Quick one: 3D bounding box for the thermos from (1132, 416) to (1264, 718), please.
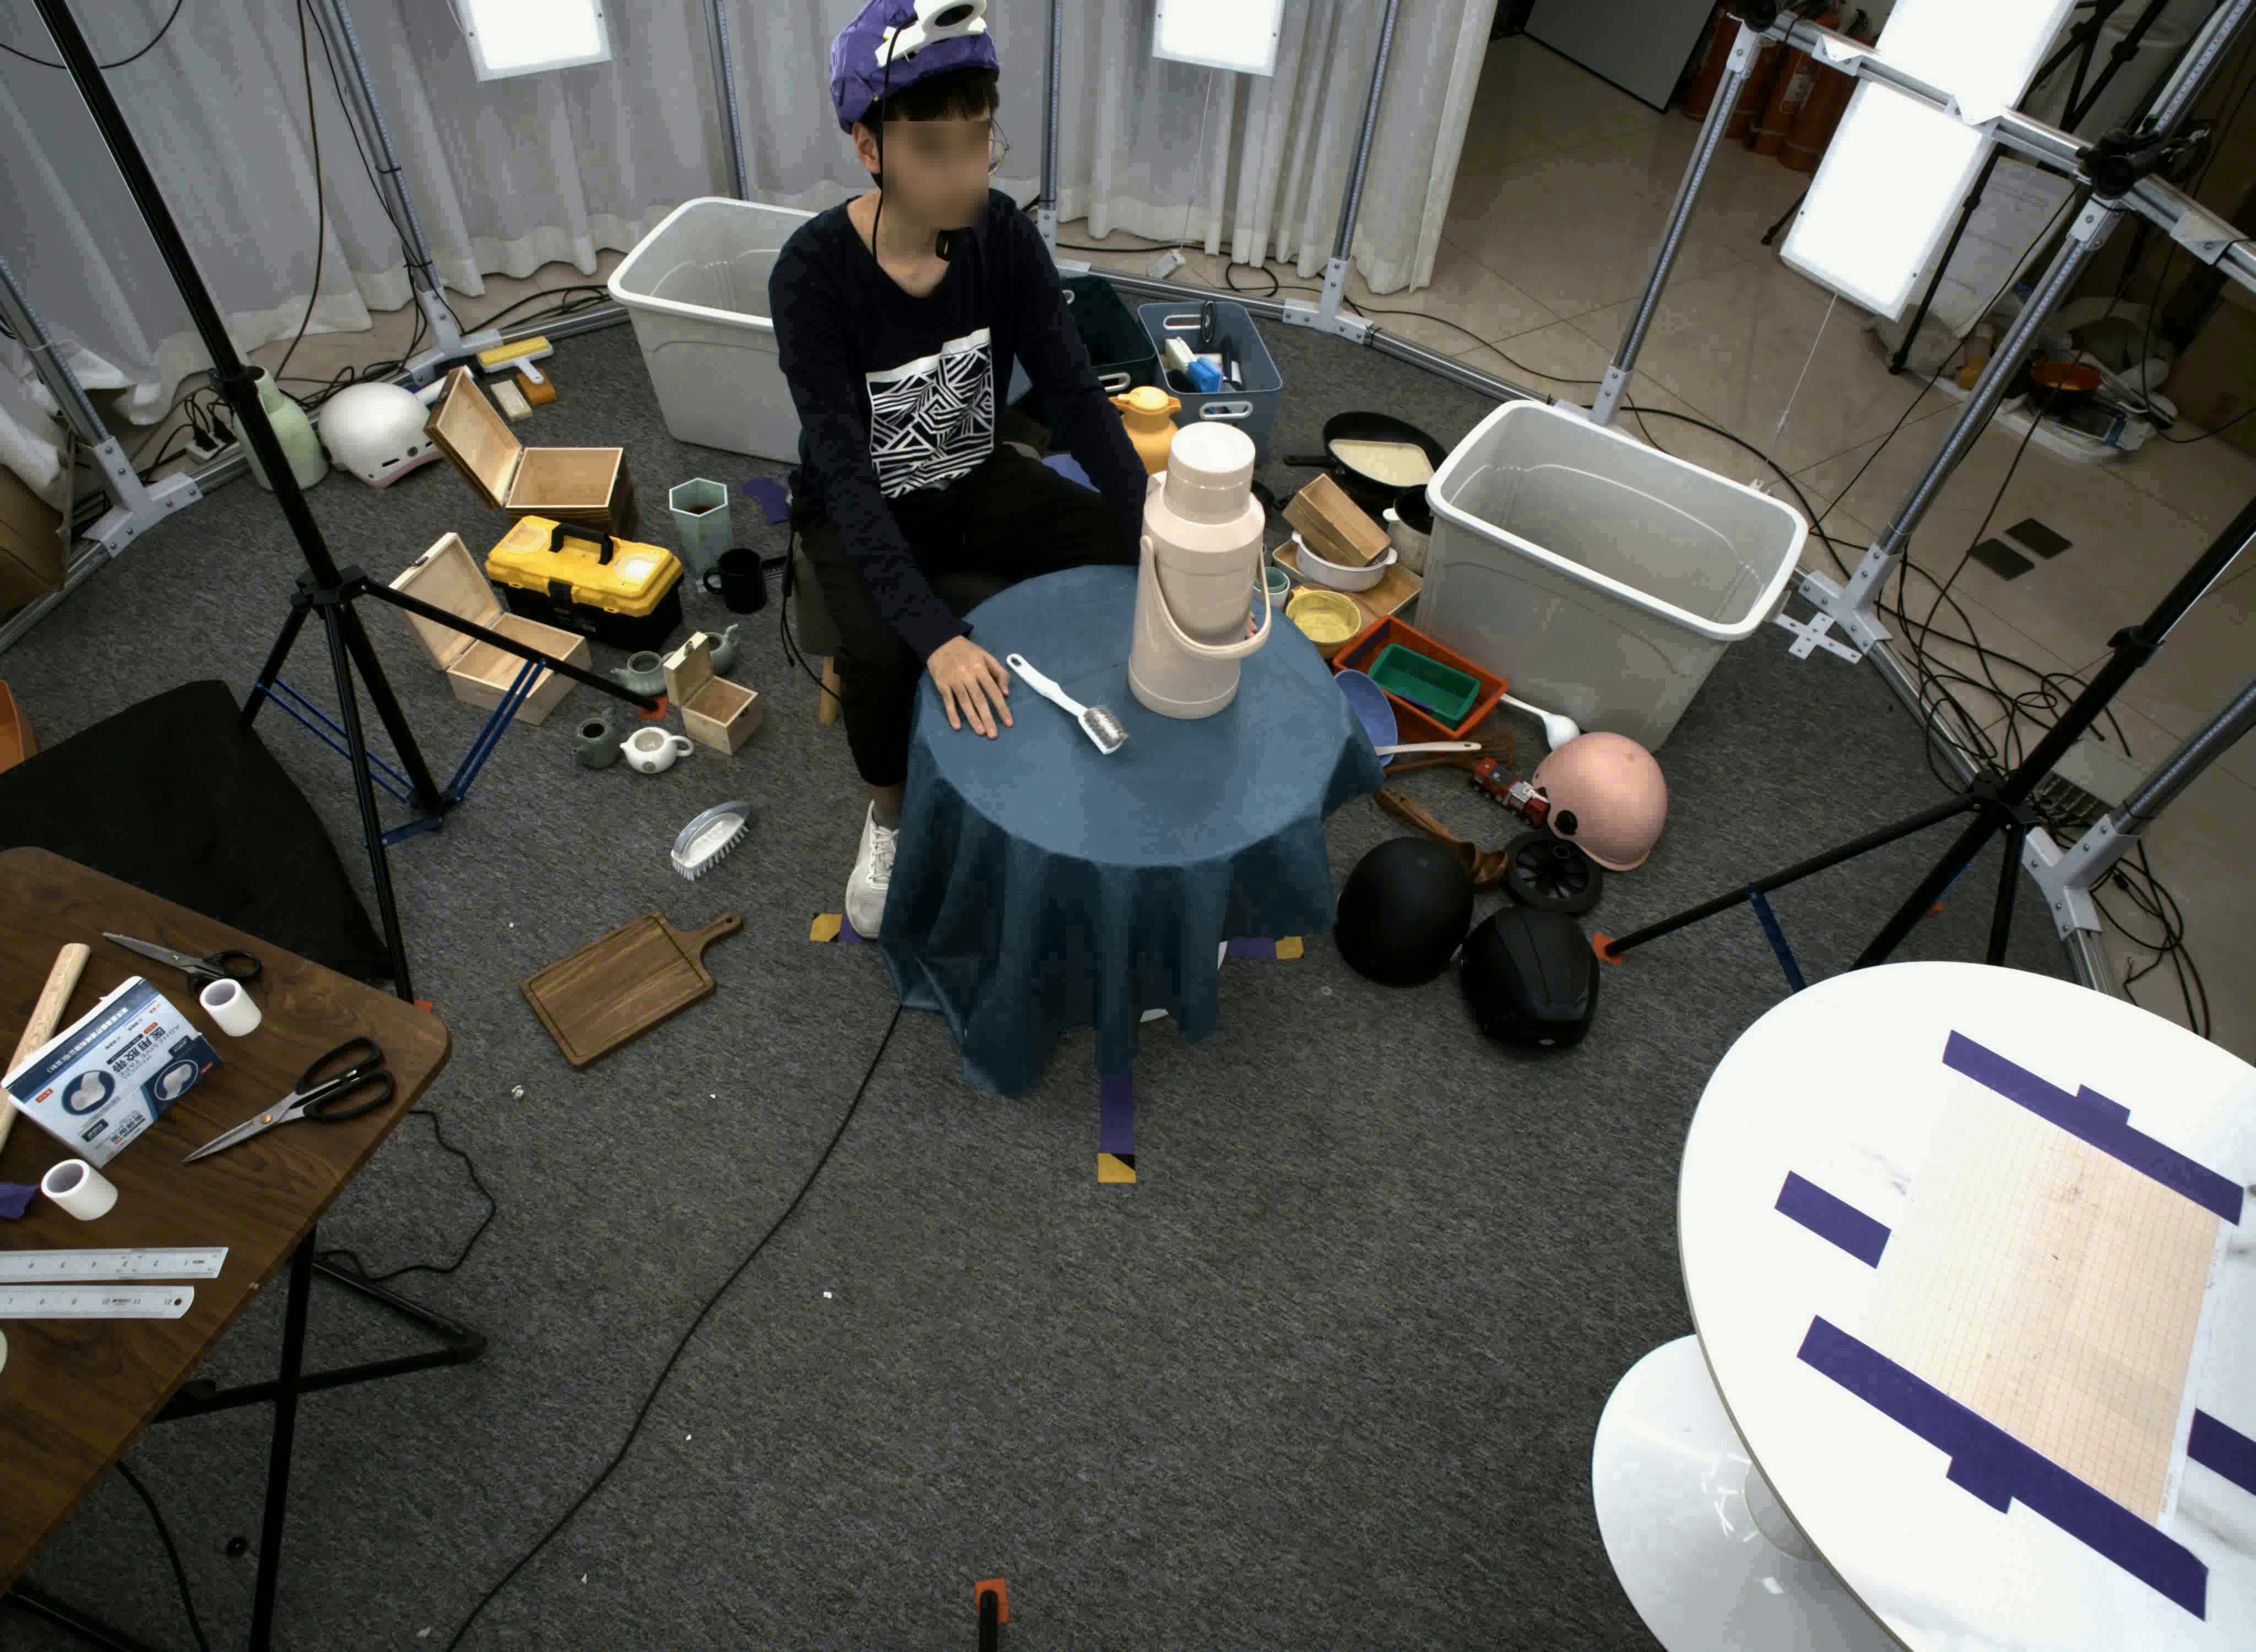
[{"bbox_3d":[0.086,-0.348,1.720,0.176,0.396,0.211,-24,54,-21],"label":"thermos"}]

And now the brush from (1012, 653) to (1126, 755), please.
[{"bbox_3d":[-0.087,-0.184,1.791,0.034,0.049,0.248,-31,57,-22],"label":"brush"}]
